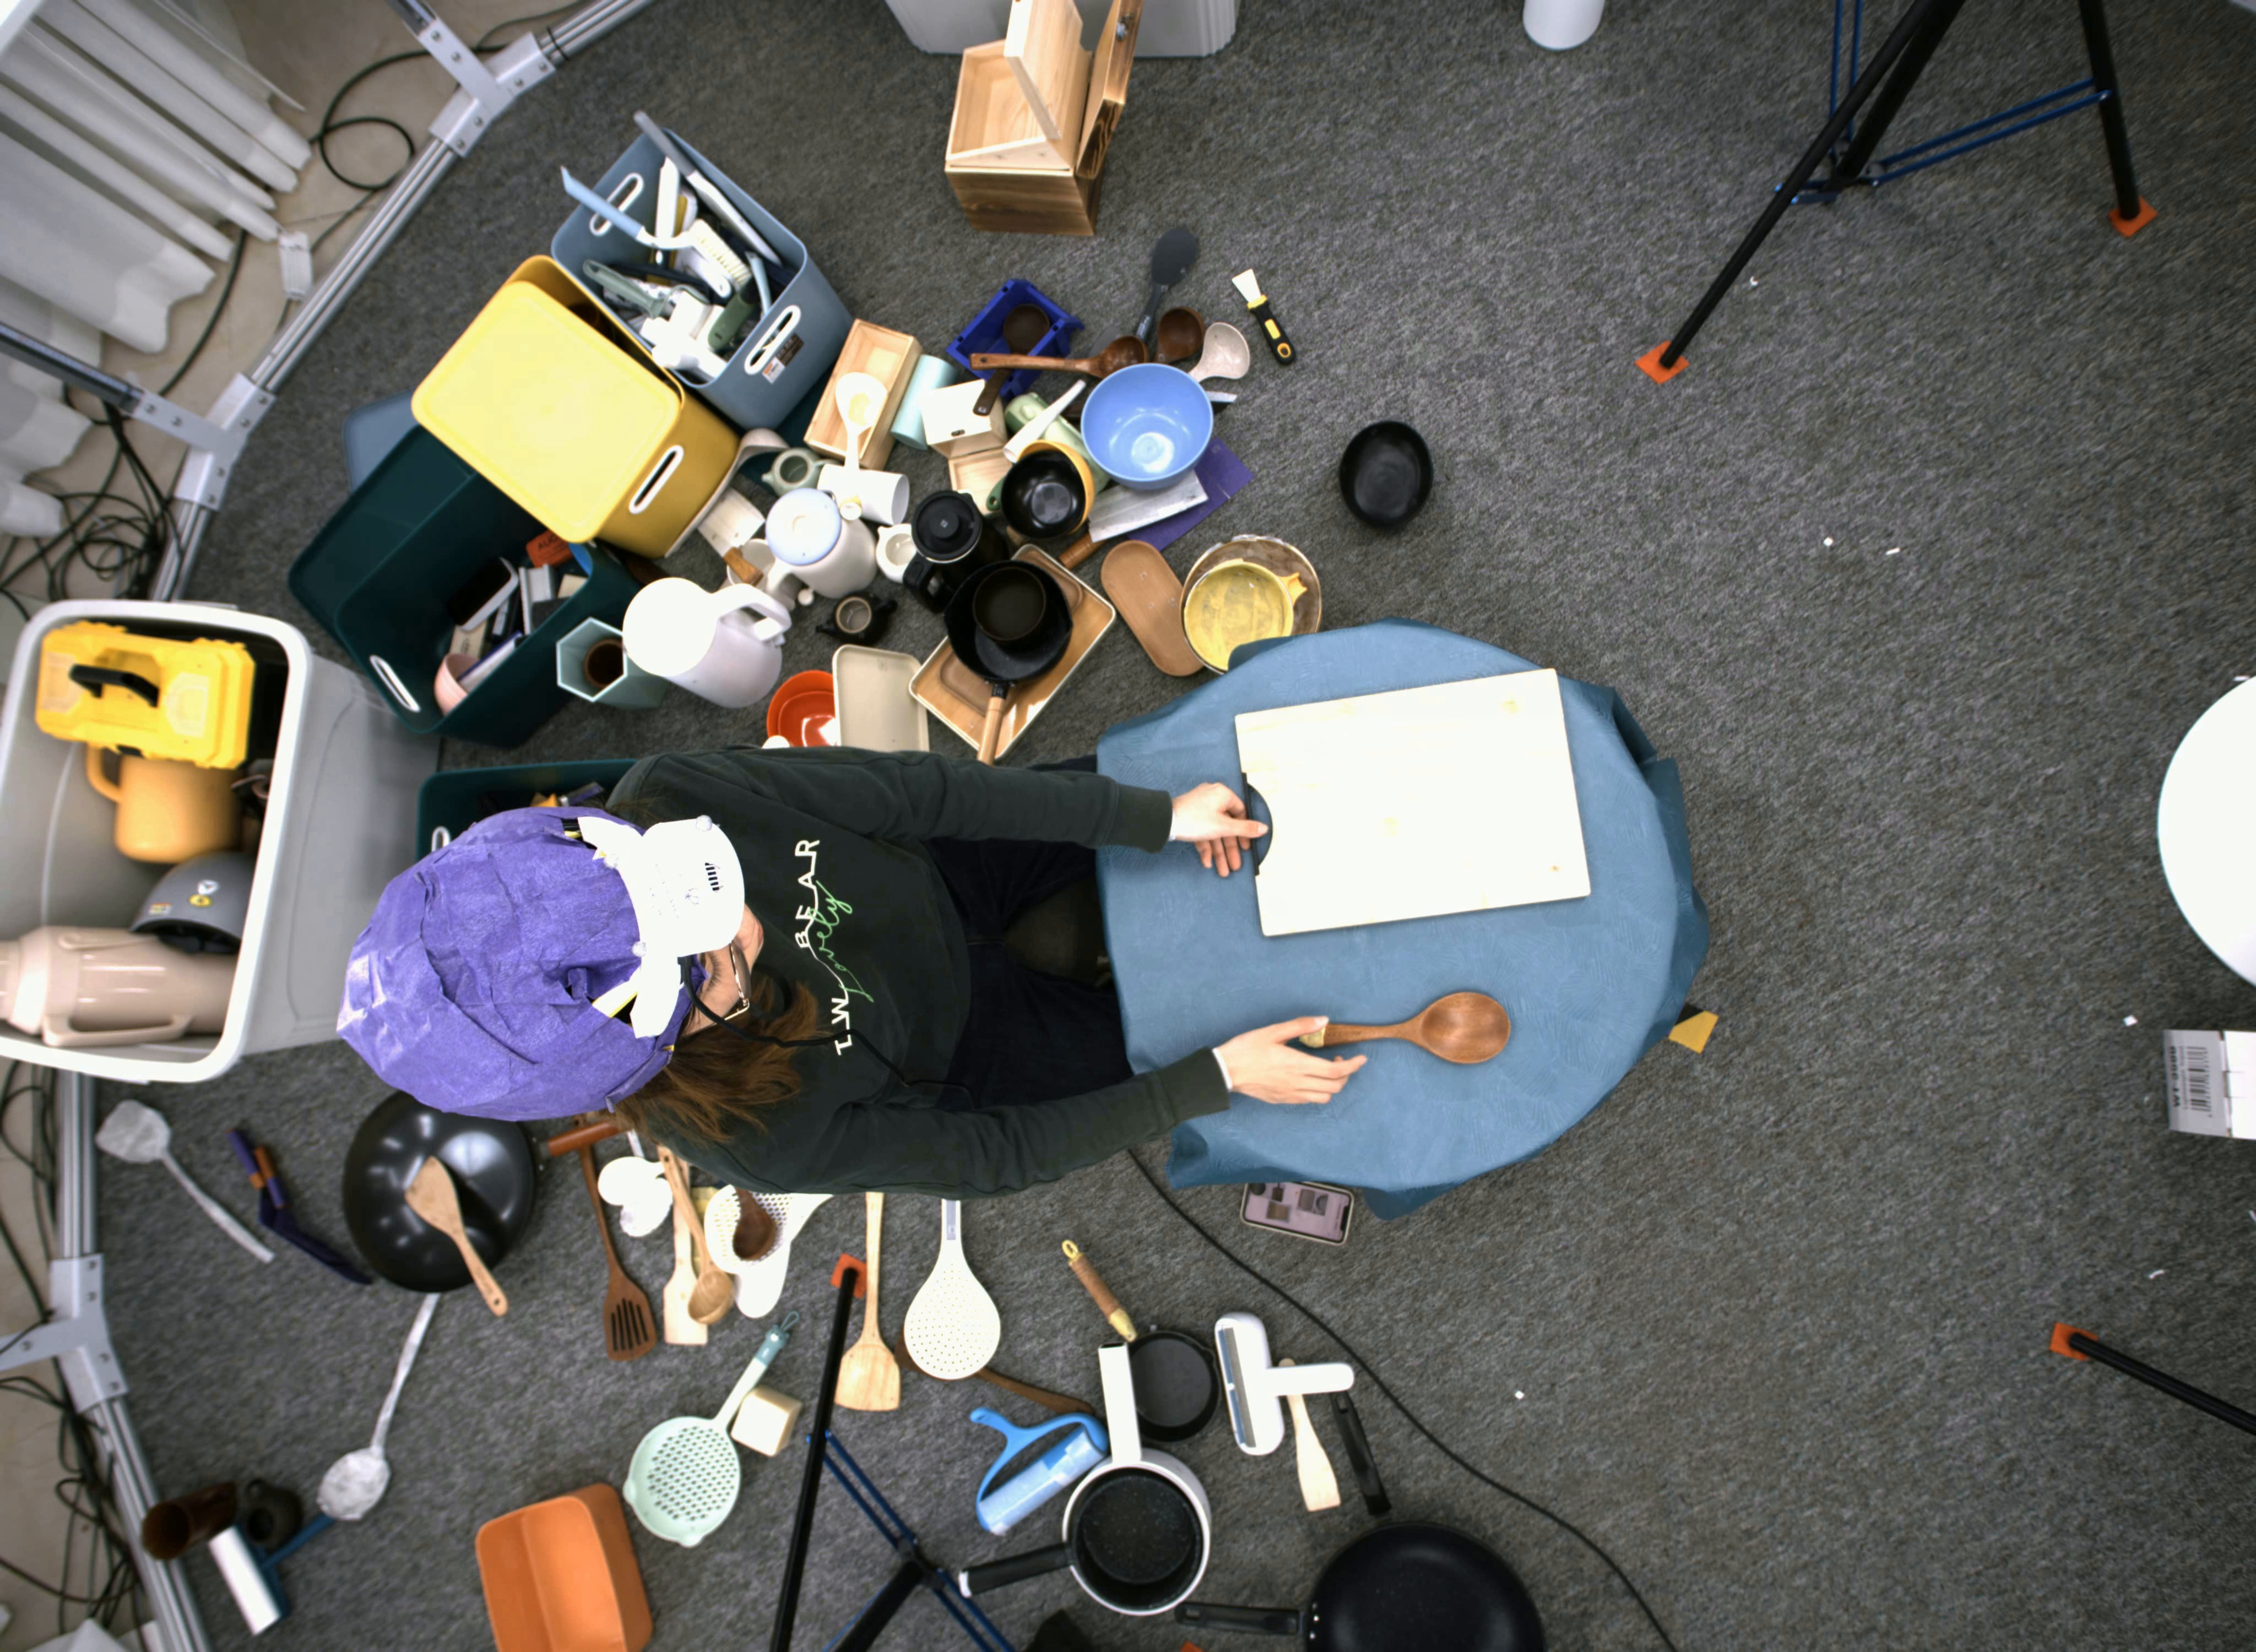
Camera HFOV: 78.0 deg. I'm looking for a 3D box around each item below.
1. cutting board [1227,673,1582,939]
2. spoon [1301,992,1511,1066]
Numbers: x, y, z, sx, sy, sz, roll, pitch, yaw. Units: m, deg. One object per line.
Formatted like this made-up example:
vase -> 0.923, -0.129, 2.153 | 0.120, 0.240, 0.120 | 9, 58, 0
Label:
cutting board -> 0.292, -0.021, 1.459 | 0.350, 0.023, 0.249 | -9, 84, 10
spoon -> 0.289, 0.214, 1.443 | 0.217, 0.017, 0.075 | -5, 87, 9
